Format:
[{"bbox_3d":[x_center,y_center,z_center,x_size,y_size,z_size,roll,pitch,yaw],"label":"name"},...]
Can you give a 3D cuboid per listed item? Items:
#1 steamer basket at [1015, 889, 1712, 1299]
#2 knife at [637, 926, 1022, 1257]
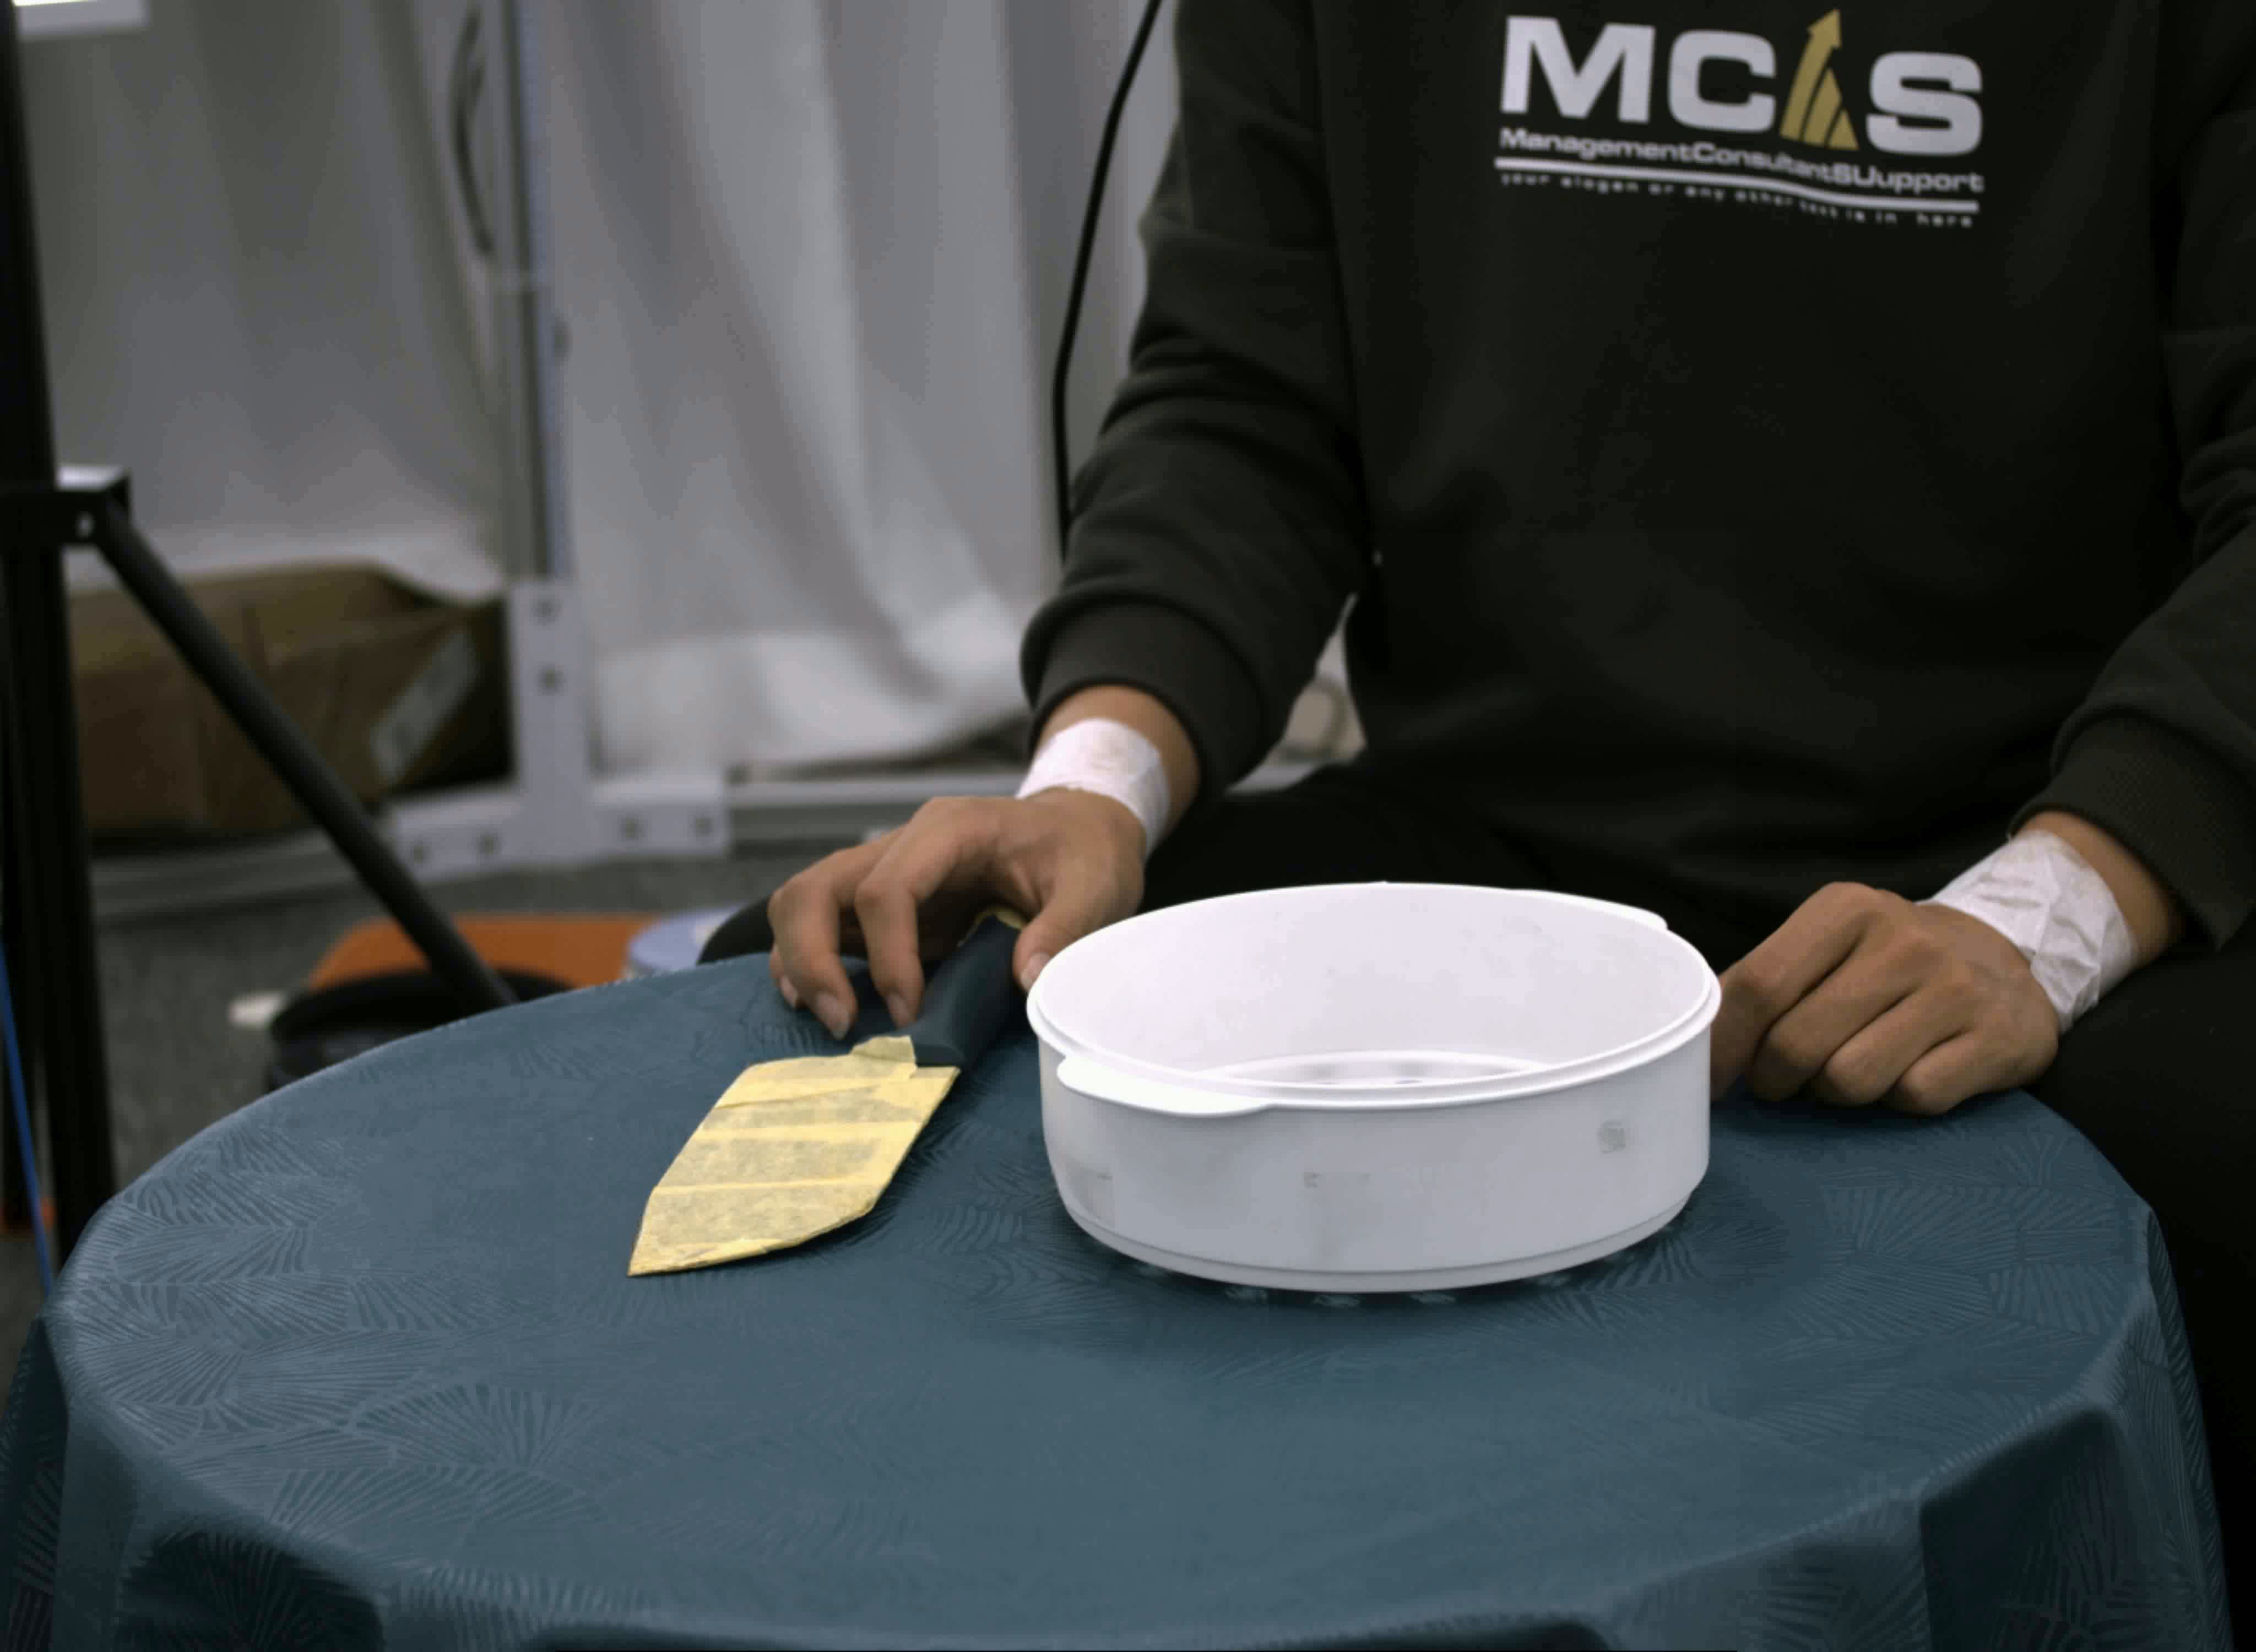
[{"bbox_3d":[0.068,0.078,1.536,0.206,0.069,0.225,12,20,40],"label":"steamer basket"},{"bbox_3d":[-0.087,0.082,1.642,0.081,0.027,0.287,-1,16,15],"label":"knife"}]
